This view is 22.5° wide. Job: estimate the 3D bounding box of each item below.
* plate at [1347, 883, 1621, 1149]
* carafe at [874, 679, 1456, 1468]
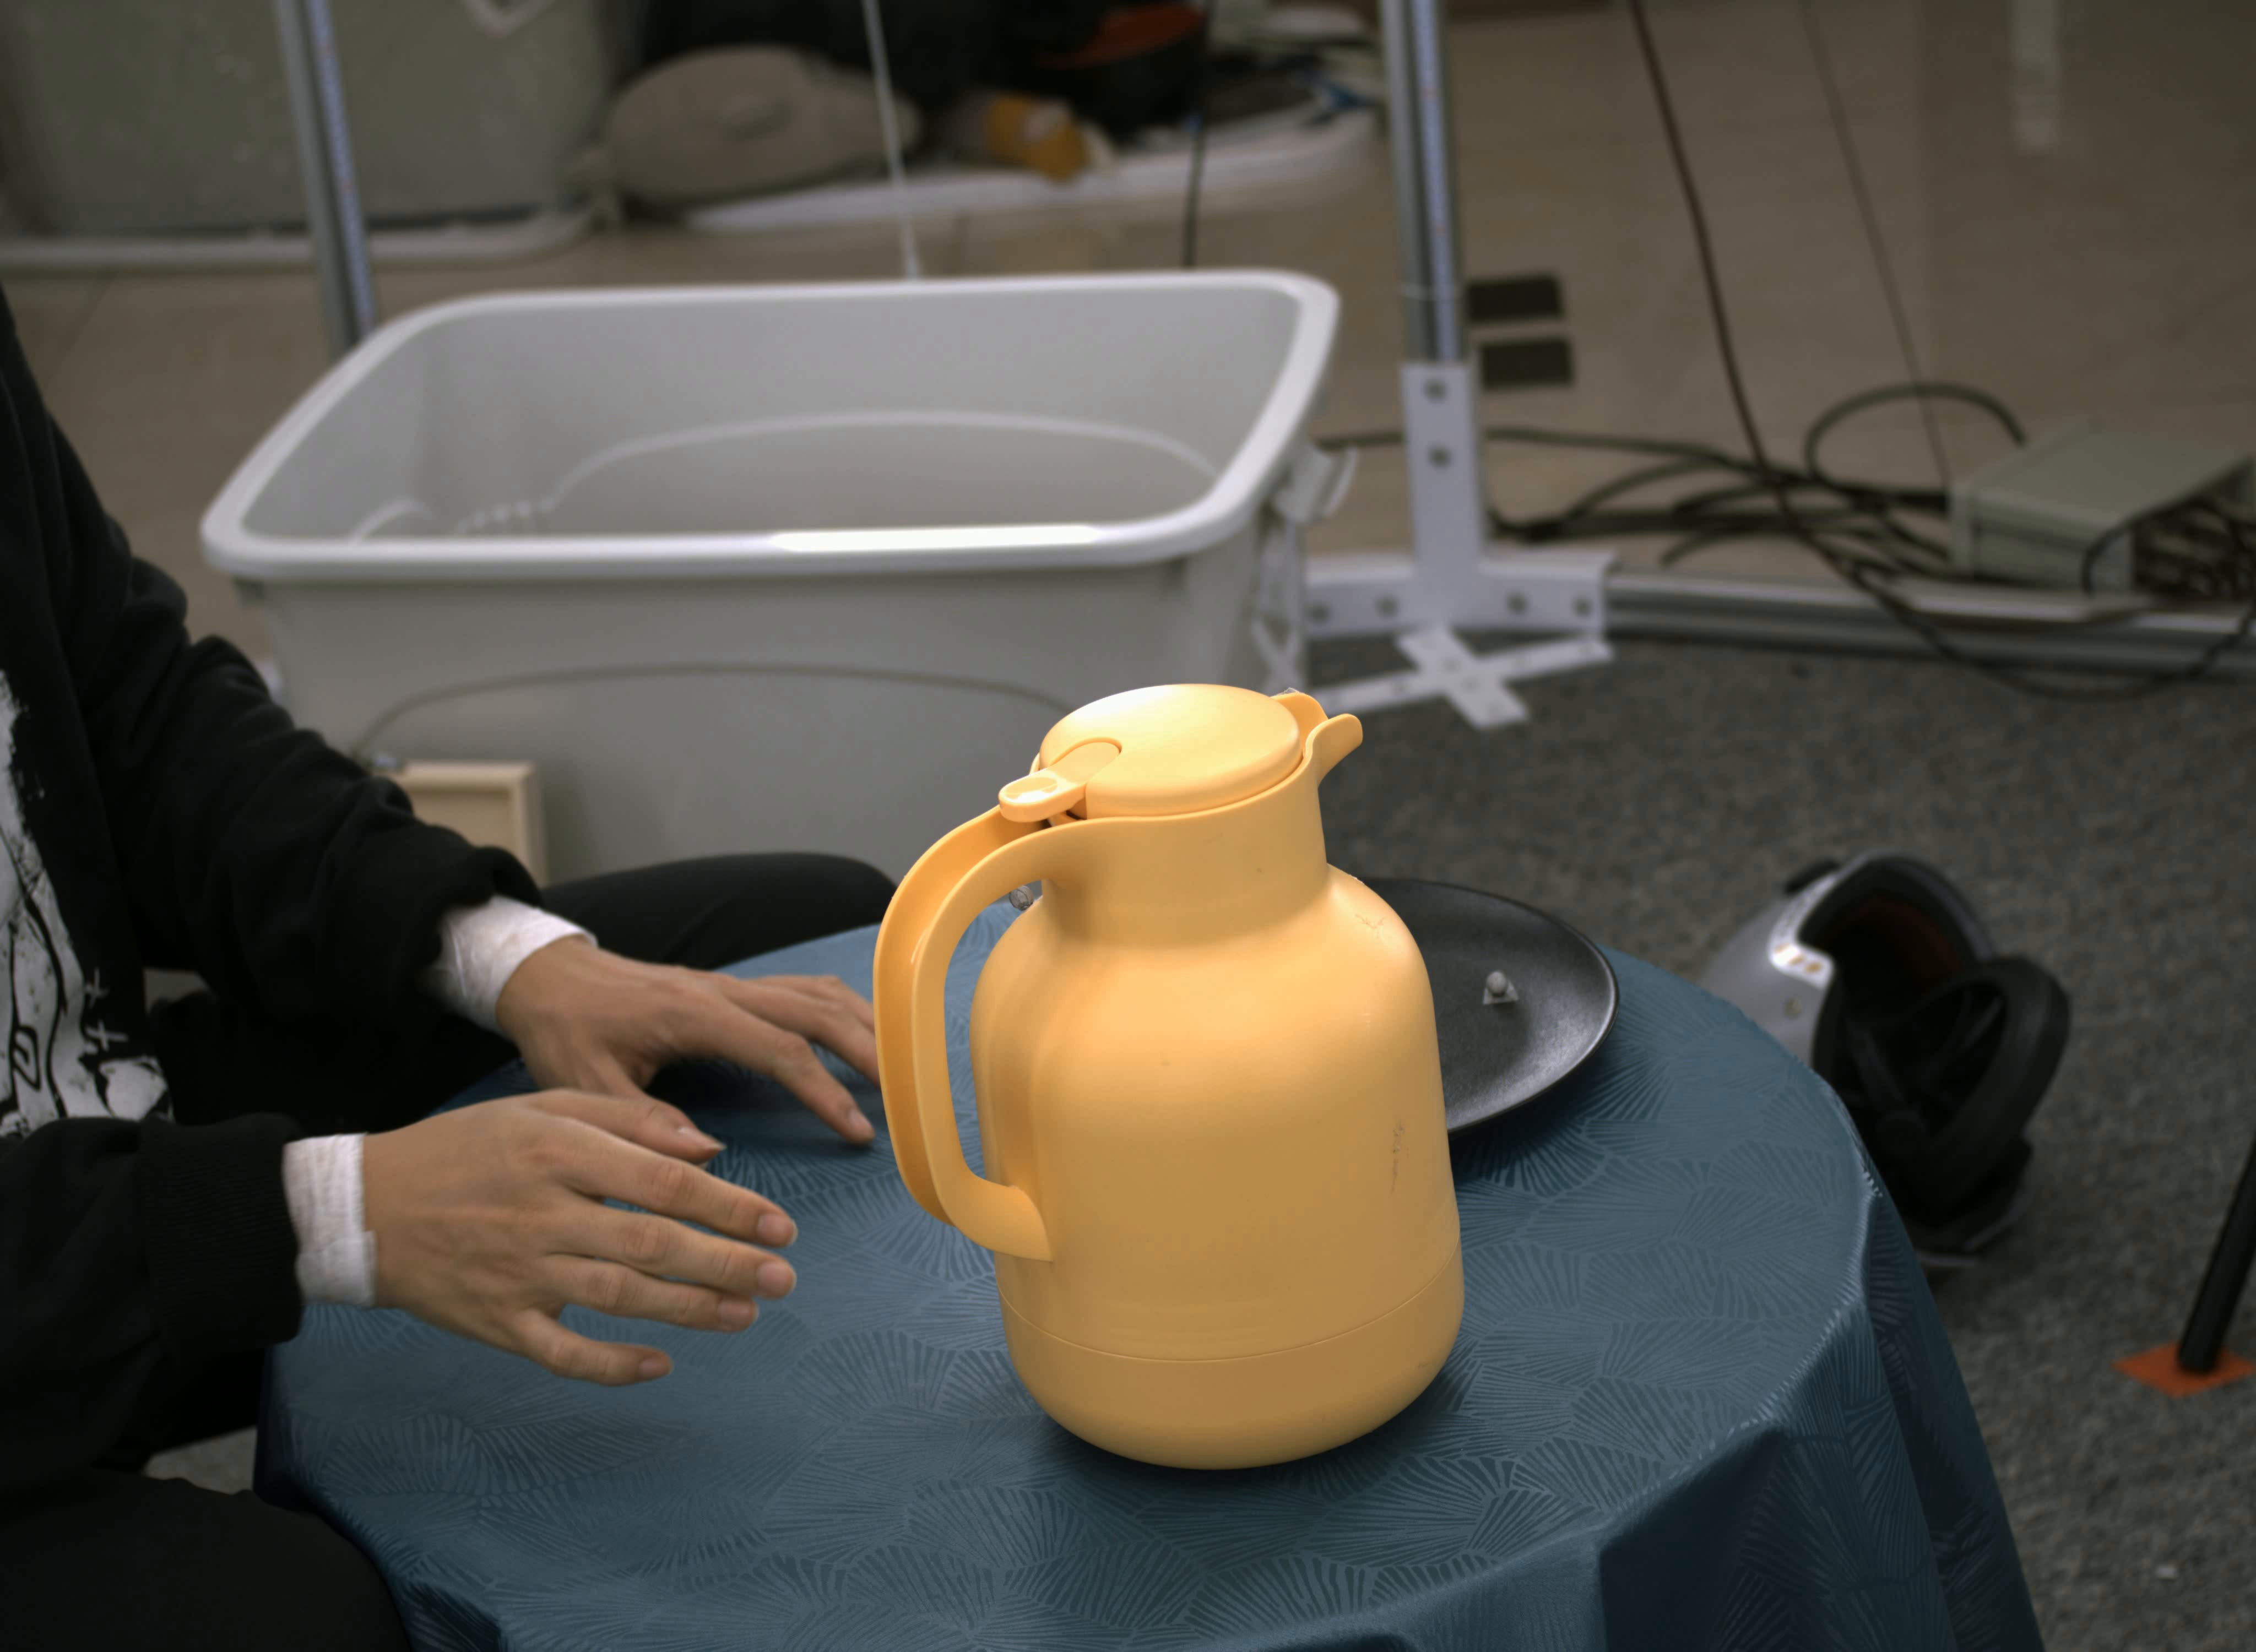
[{"bbox_3d":[0.072,0.083,2.224,0.244,0.024,0.241,-5,25,3],"label":"plate"},{"bbox_3d":[0.009,0.085,1.945,0.201,0.264,0.162,-18,25,-27],"label":"carafe"}]
